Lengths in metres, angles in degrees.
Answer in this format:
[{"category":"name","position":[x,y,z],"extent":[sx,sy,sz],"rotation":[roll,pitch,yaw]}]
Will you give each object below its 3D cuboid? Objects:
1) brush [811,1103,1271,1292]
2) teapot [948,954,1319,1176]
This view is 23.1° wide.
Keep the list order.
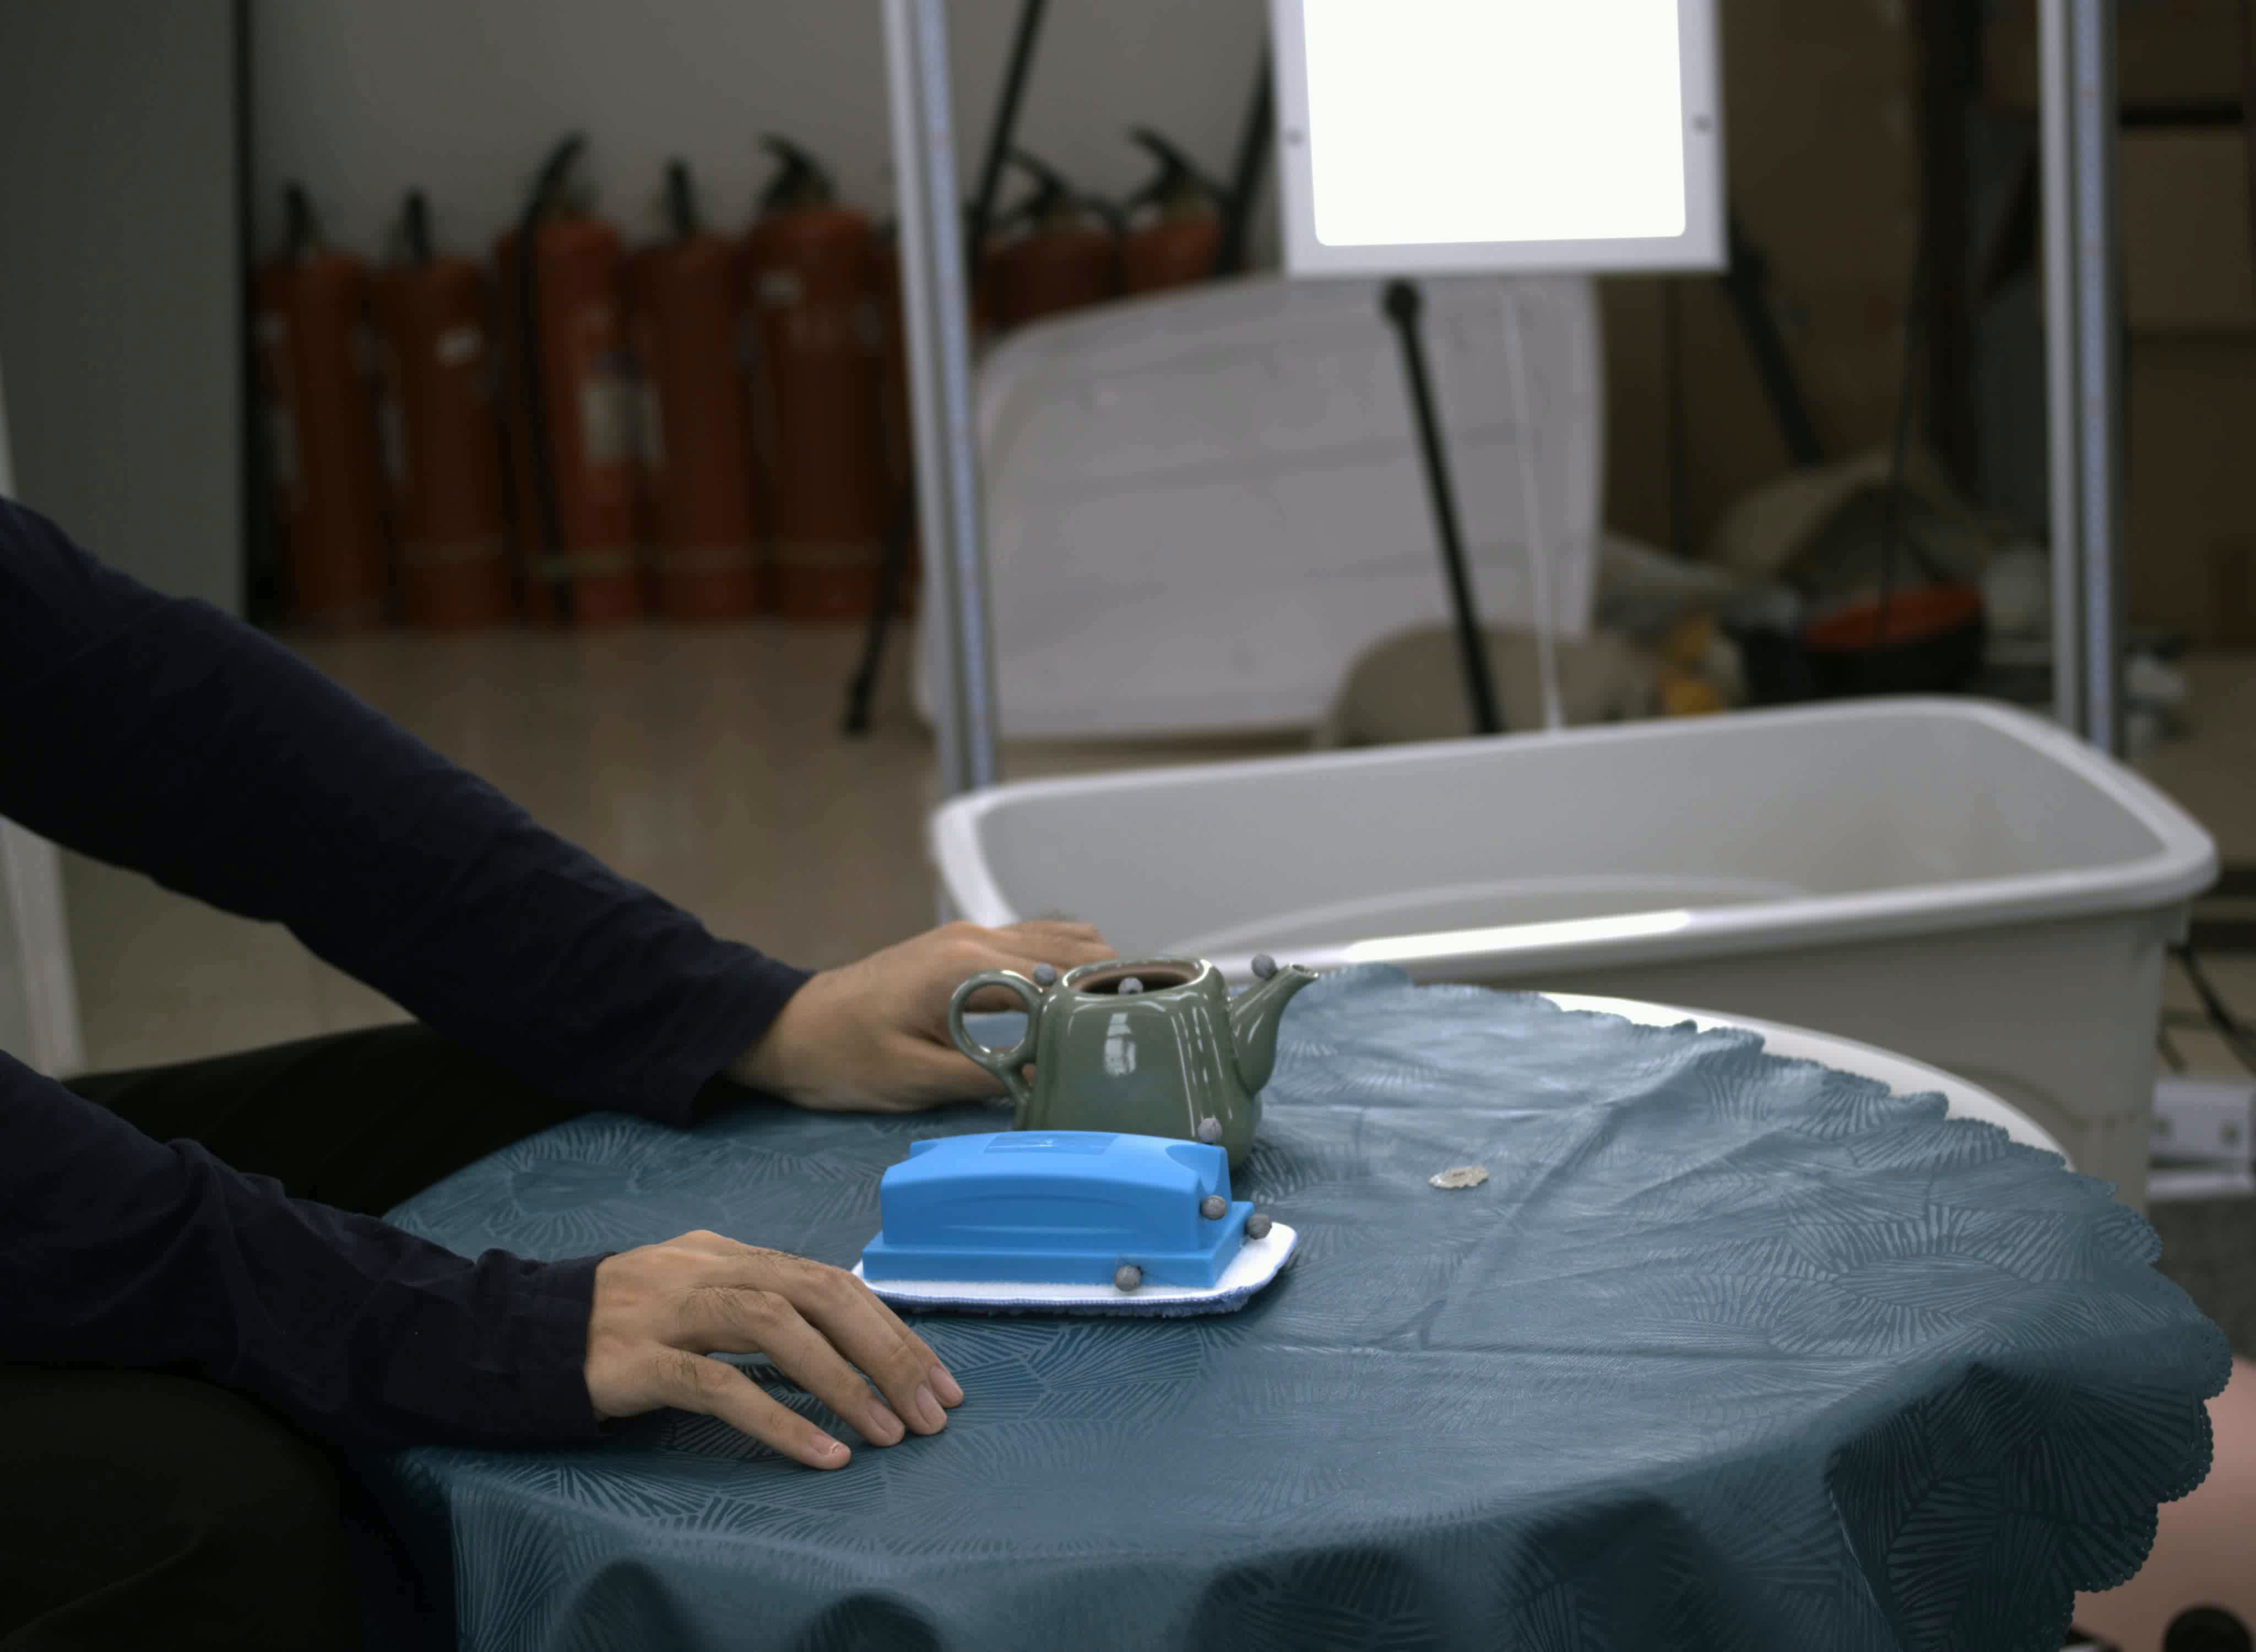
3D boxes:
[{"category":"brush","position":[-0.028,0.121,1.801],"extent":[0.146,0.056,0.082],"rotation":[4,12,20]},{"category":"teapot","position":[0.005,0.084,1.917],"extent":[0.133,0.075,0.079],"rotation":[-4,14,11]}]
